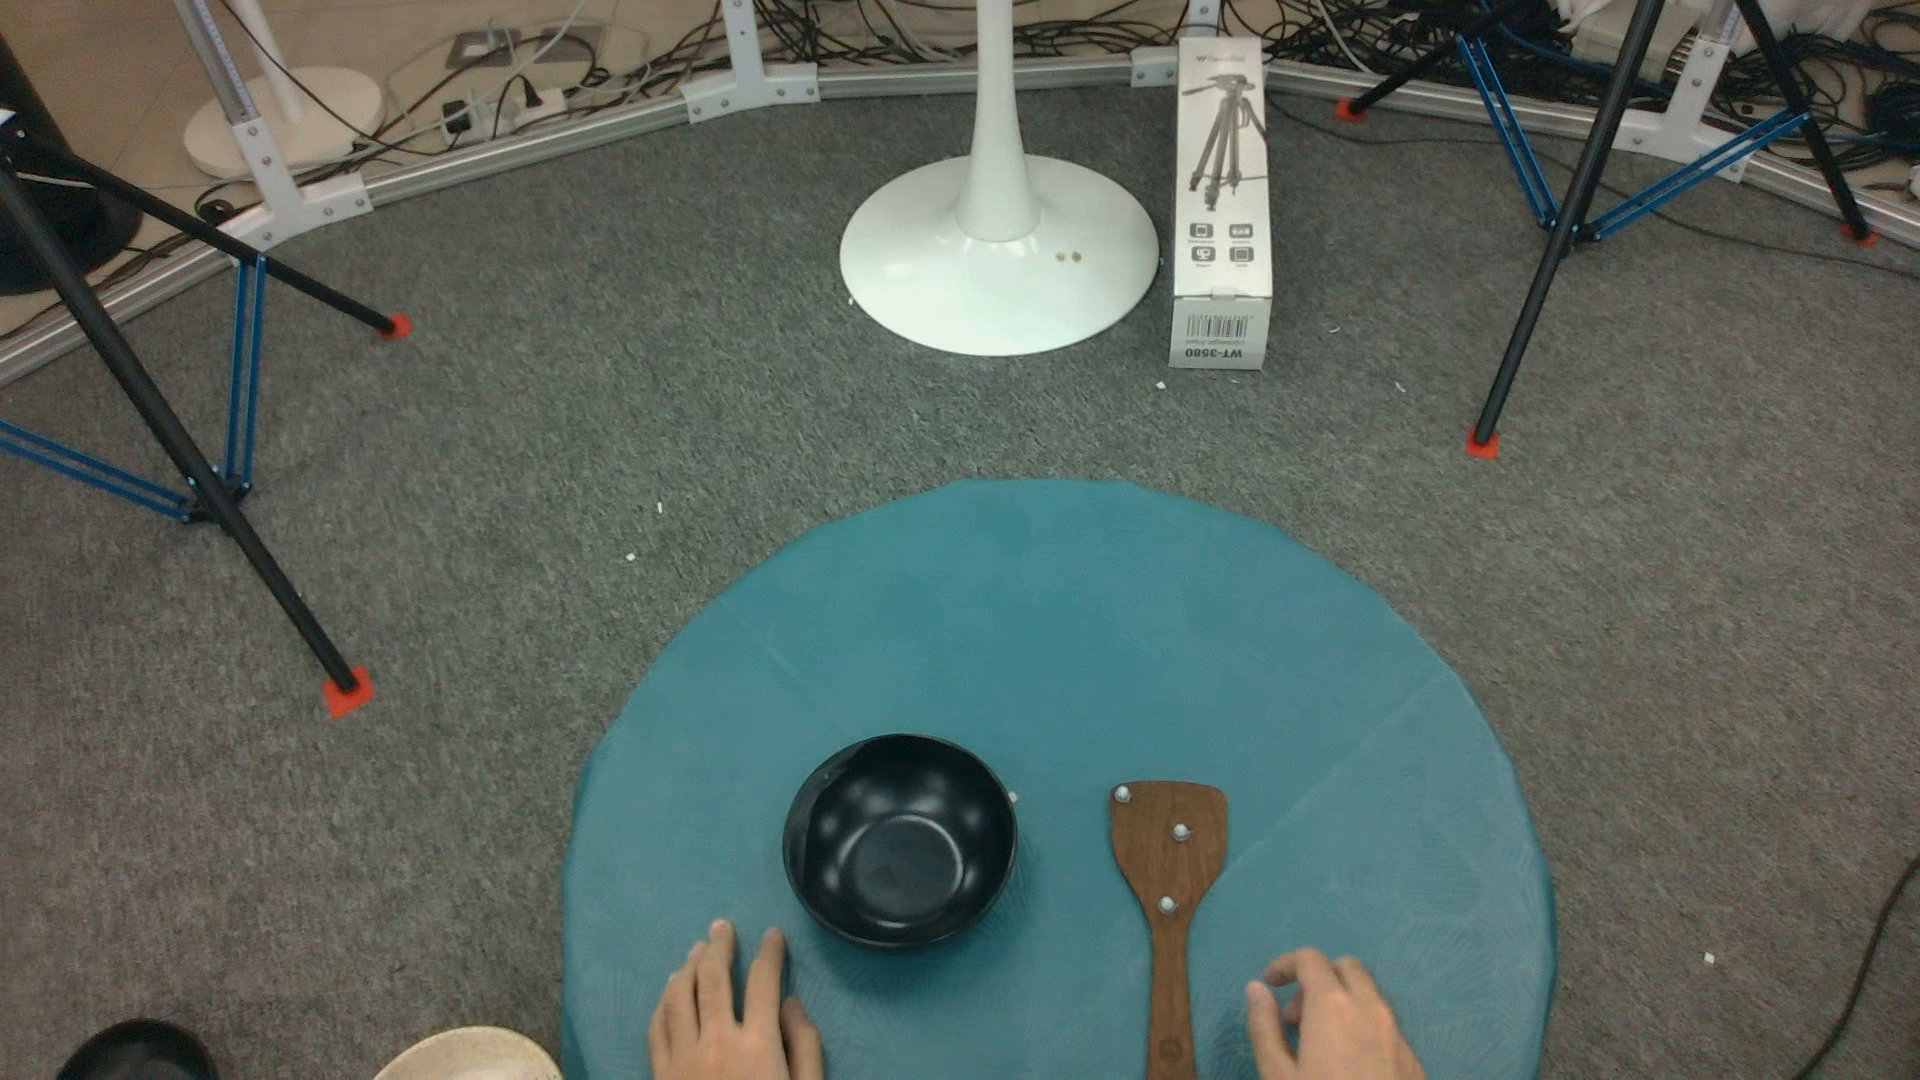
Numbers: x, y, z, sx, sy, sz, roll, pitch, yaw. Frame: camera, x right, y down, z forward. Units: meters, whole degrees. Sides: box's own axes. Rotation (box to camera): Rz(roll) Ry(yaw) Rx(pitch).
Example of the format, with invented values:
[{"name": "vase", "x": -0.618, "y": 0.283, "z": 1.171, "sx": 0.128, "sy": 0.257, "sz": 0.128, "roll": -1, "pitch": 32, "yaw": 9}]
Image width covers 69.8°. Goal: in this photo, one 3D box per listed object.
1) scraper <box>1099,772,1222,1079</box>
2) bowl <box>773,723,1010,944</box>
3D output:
[{"name": "scraper", "x": 0.117, "y": 0.230, "z": 0.803, "sx": 0.076, "sy": 0.011, "sz": 0.212, "roll": 3, "pitch": 51, "yaw": 5}, {"name": "bowl", "x": -0.041, "y": 0.181, "z": 0.822, "sx": 0.140, "sy": 0.049, "sz": 0.140, "roll": 1, "pitch": 50, "yaw": -1}]
